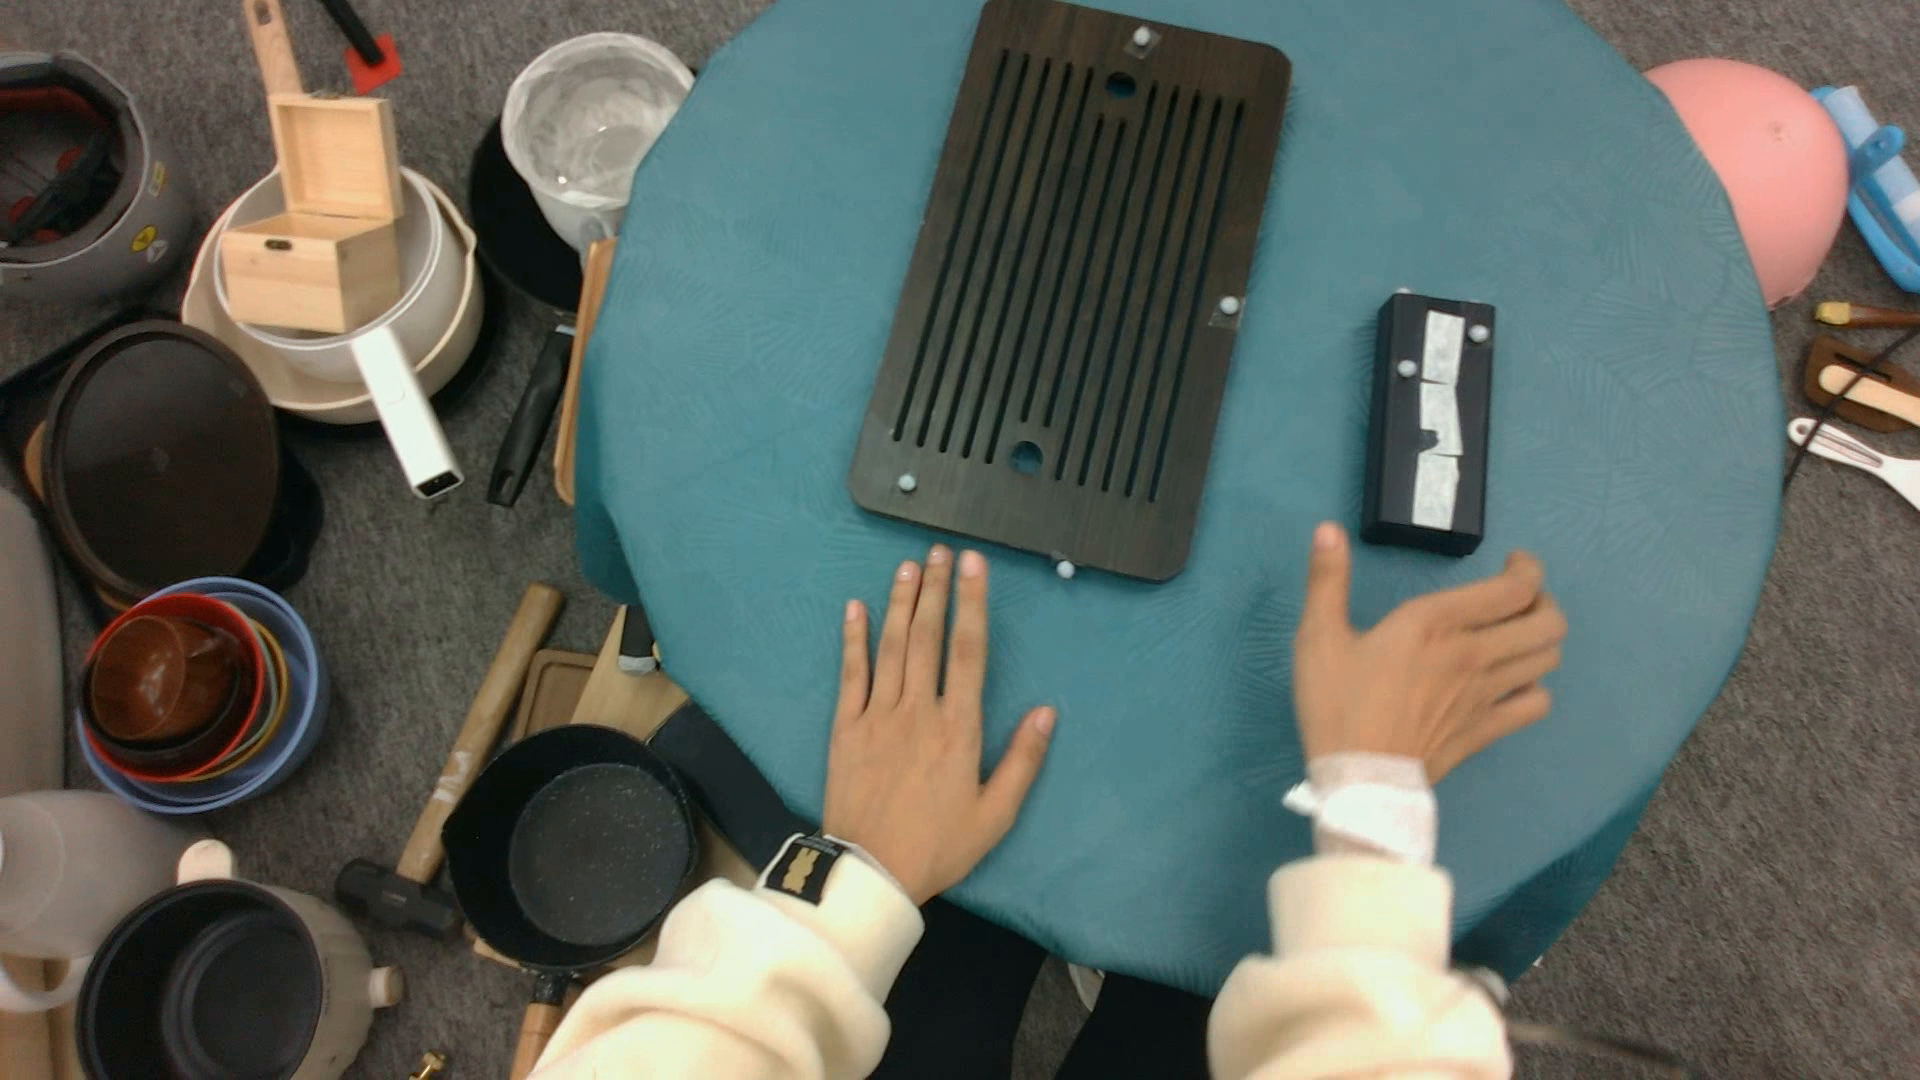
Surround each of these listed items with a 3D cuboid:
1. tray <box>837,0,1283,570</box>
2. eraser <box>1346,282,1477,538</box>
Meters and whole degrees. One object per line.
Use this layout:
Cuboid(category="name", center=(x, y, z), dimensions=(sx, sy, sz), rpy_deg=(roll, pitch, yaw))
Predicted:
Cuboid(category="tray", center=(0.057, -0.143, 0.705), dimensions=(0.170, 0.018, 0.307), rpy_deg=(13, 73, 4))
Cuboid(category="eraser", center=(0.221, -0.065, 0.676), dimensions=(0.053, 0.030, 0.126), rpy_deg=(8, 74, 5))
